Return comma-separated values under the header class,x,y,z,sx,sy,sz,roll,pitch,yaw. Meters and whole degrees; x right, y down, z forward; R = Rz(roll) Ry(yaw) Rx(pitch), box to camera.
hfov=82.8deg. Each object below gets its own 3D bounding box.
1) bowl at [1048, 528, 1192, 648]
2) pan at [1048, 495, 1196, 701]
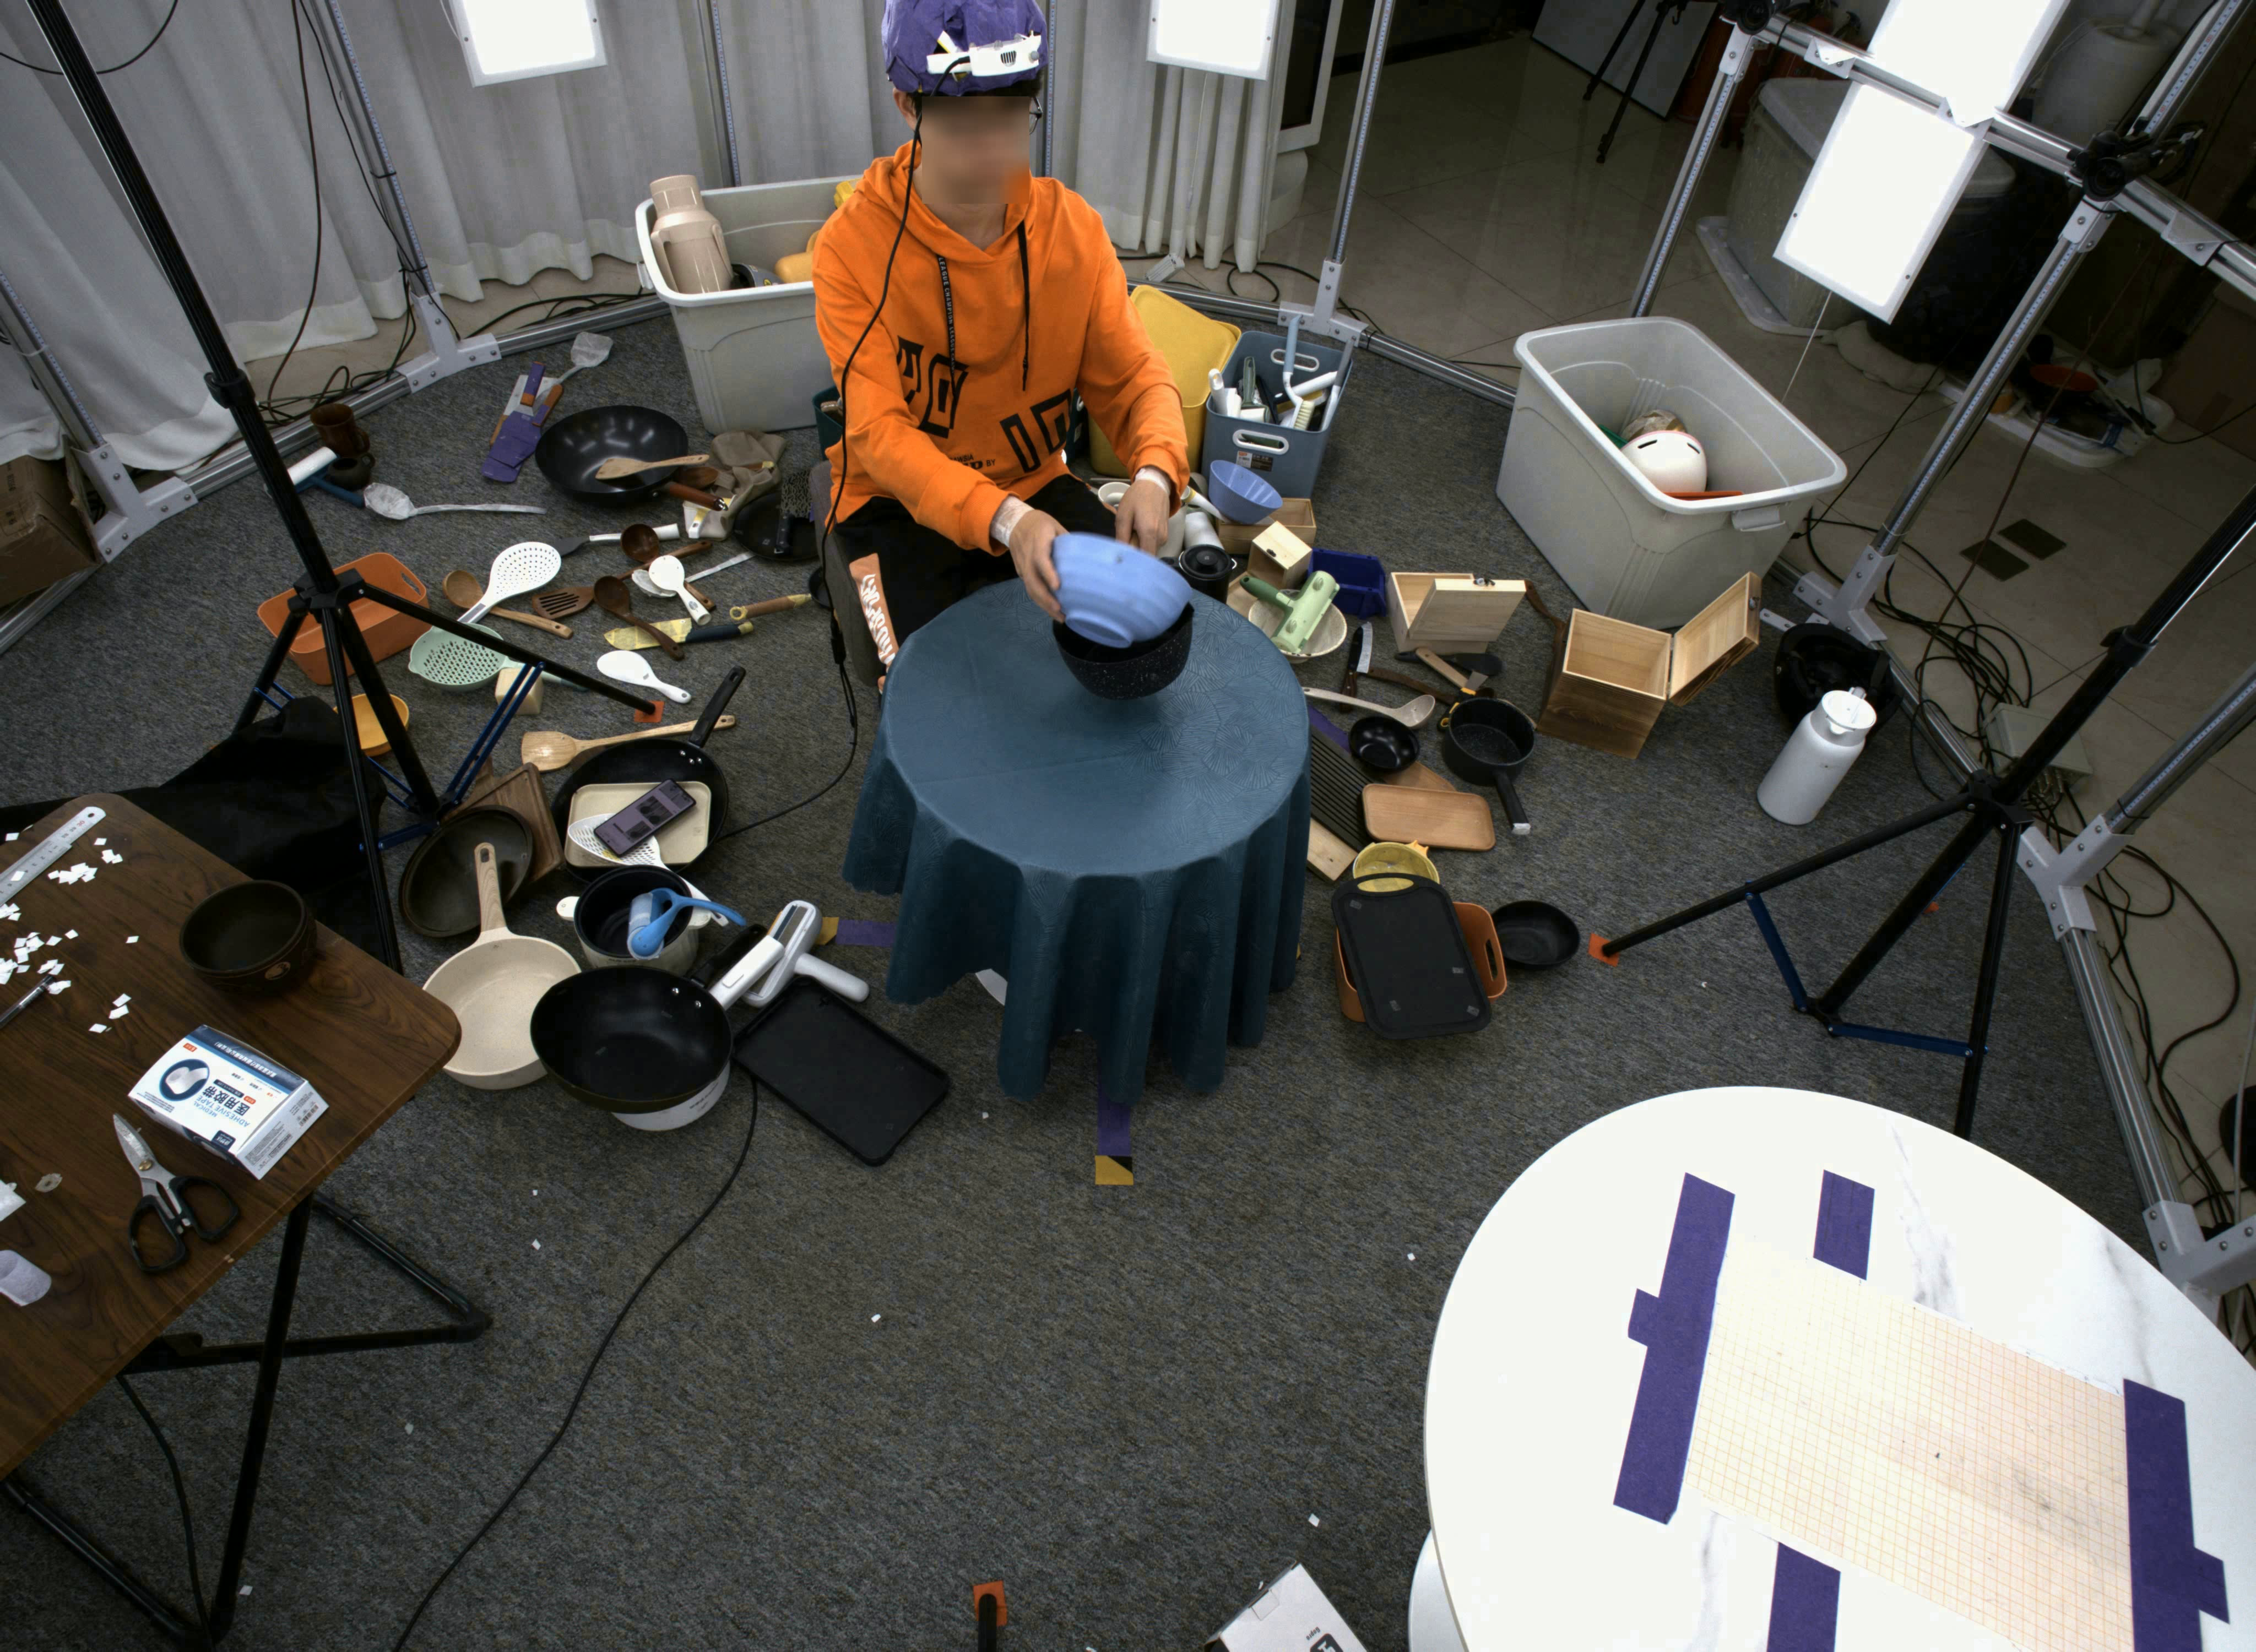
class,x,y,z,sx,sy,sz,roll,pitch,yaw
bowl,-0.024,-0.296,1.682,0.197,0.193,0.096,20,78,12
pan,0.002,-0.319,1.796,0.207,0.105,0.351,-6,47,13
